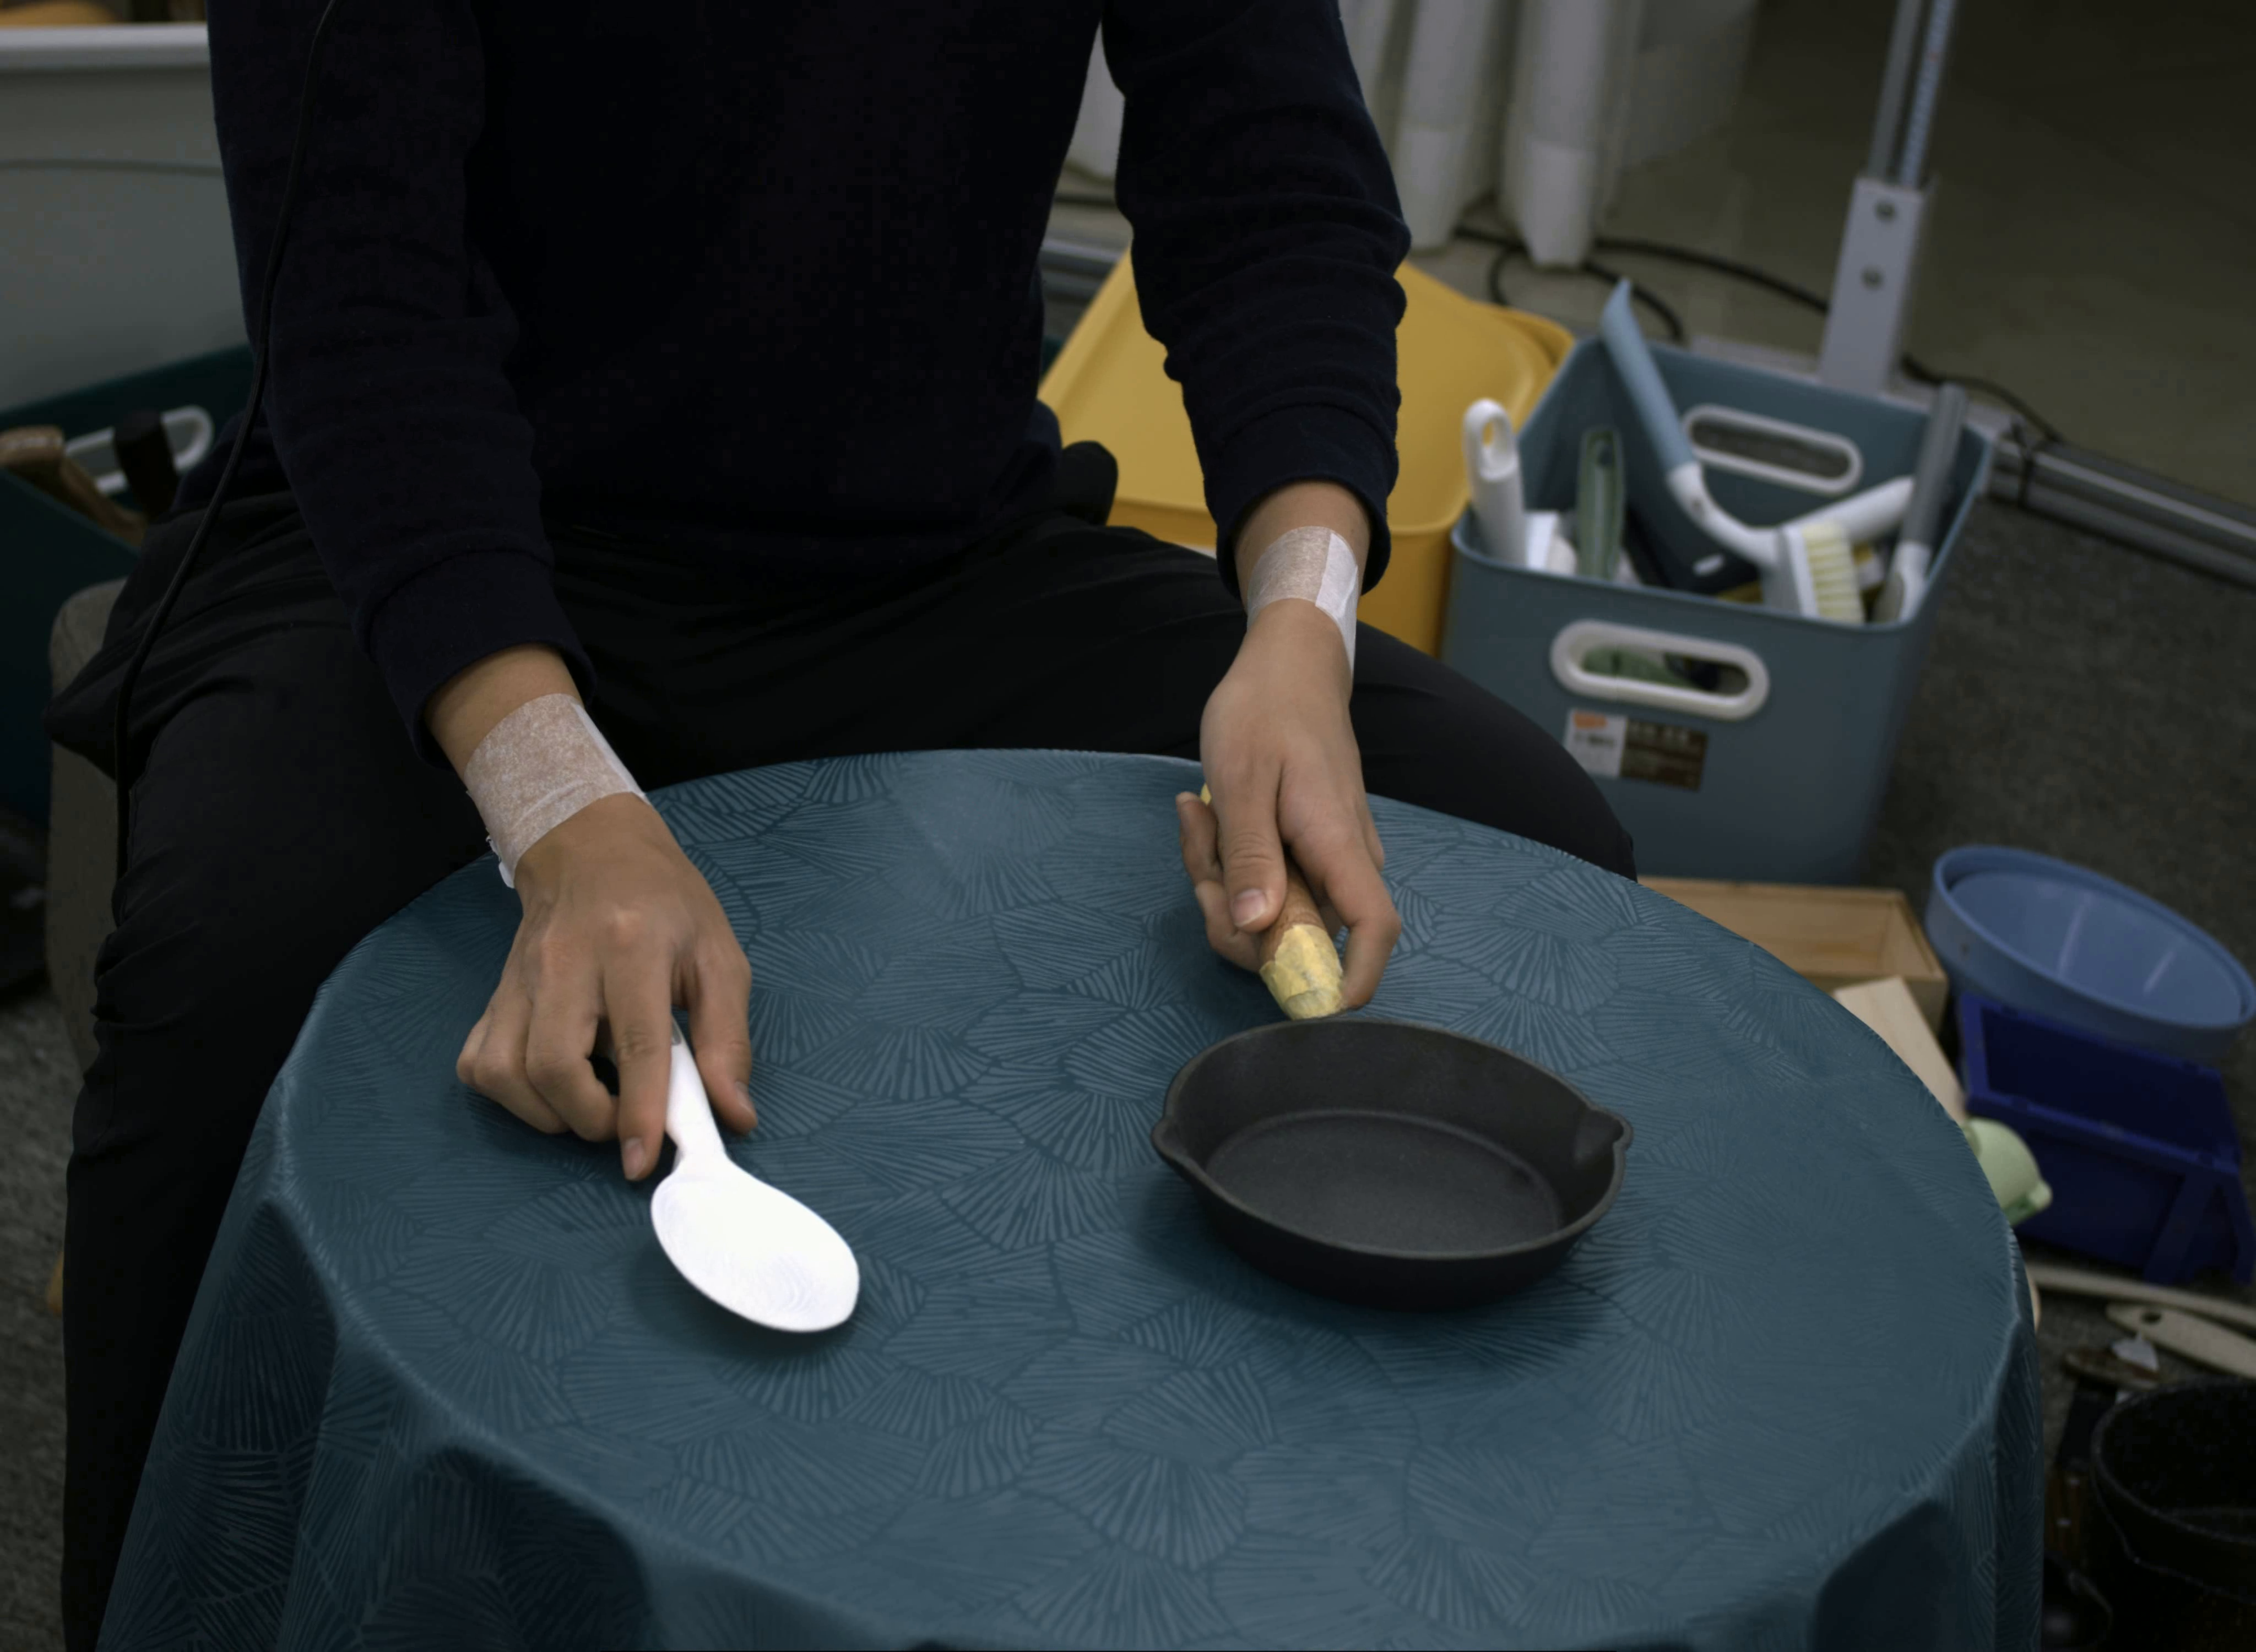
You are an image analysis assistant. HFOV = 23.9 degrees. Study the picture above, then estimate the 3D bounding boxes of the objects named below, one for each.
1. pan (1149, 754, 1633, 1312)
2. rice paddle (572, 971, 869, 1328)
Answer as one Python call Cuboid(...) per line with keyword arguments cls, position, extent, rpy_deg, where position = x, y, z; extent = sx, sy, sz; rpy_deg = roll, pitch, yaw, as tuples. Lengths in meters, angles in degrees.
Cuboid(cls="pan", position=(0.072, 0.070, 1.869), extent=(0.168, 0.049, 0.327), rpy_deg=(0, 29, -13))
Cuboid(cls="rice paddle", position=(-0.140, 0.109, 1.767), extent=(0.068, 0.029, 0.207), rpy_deg=(5, 25, -27))
